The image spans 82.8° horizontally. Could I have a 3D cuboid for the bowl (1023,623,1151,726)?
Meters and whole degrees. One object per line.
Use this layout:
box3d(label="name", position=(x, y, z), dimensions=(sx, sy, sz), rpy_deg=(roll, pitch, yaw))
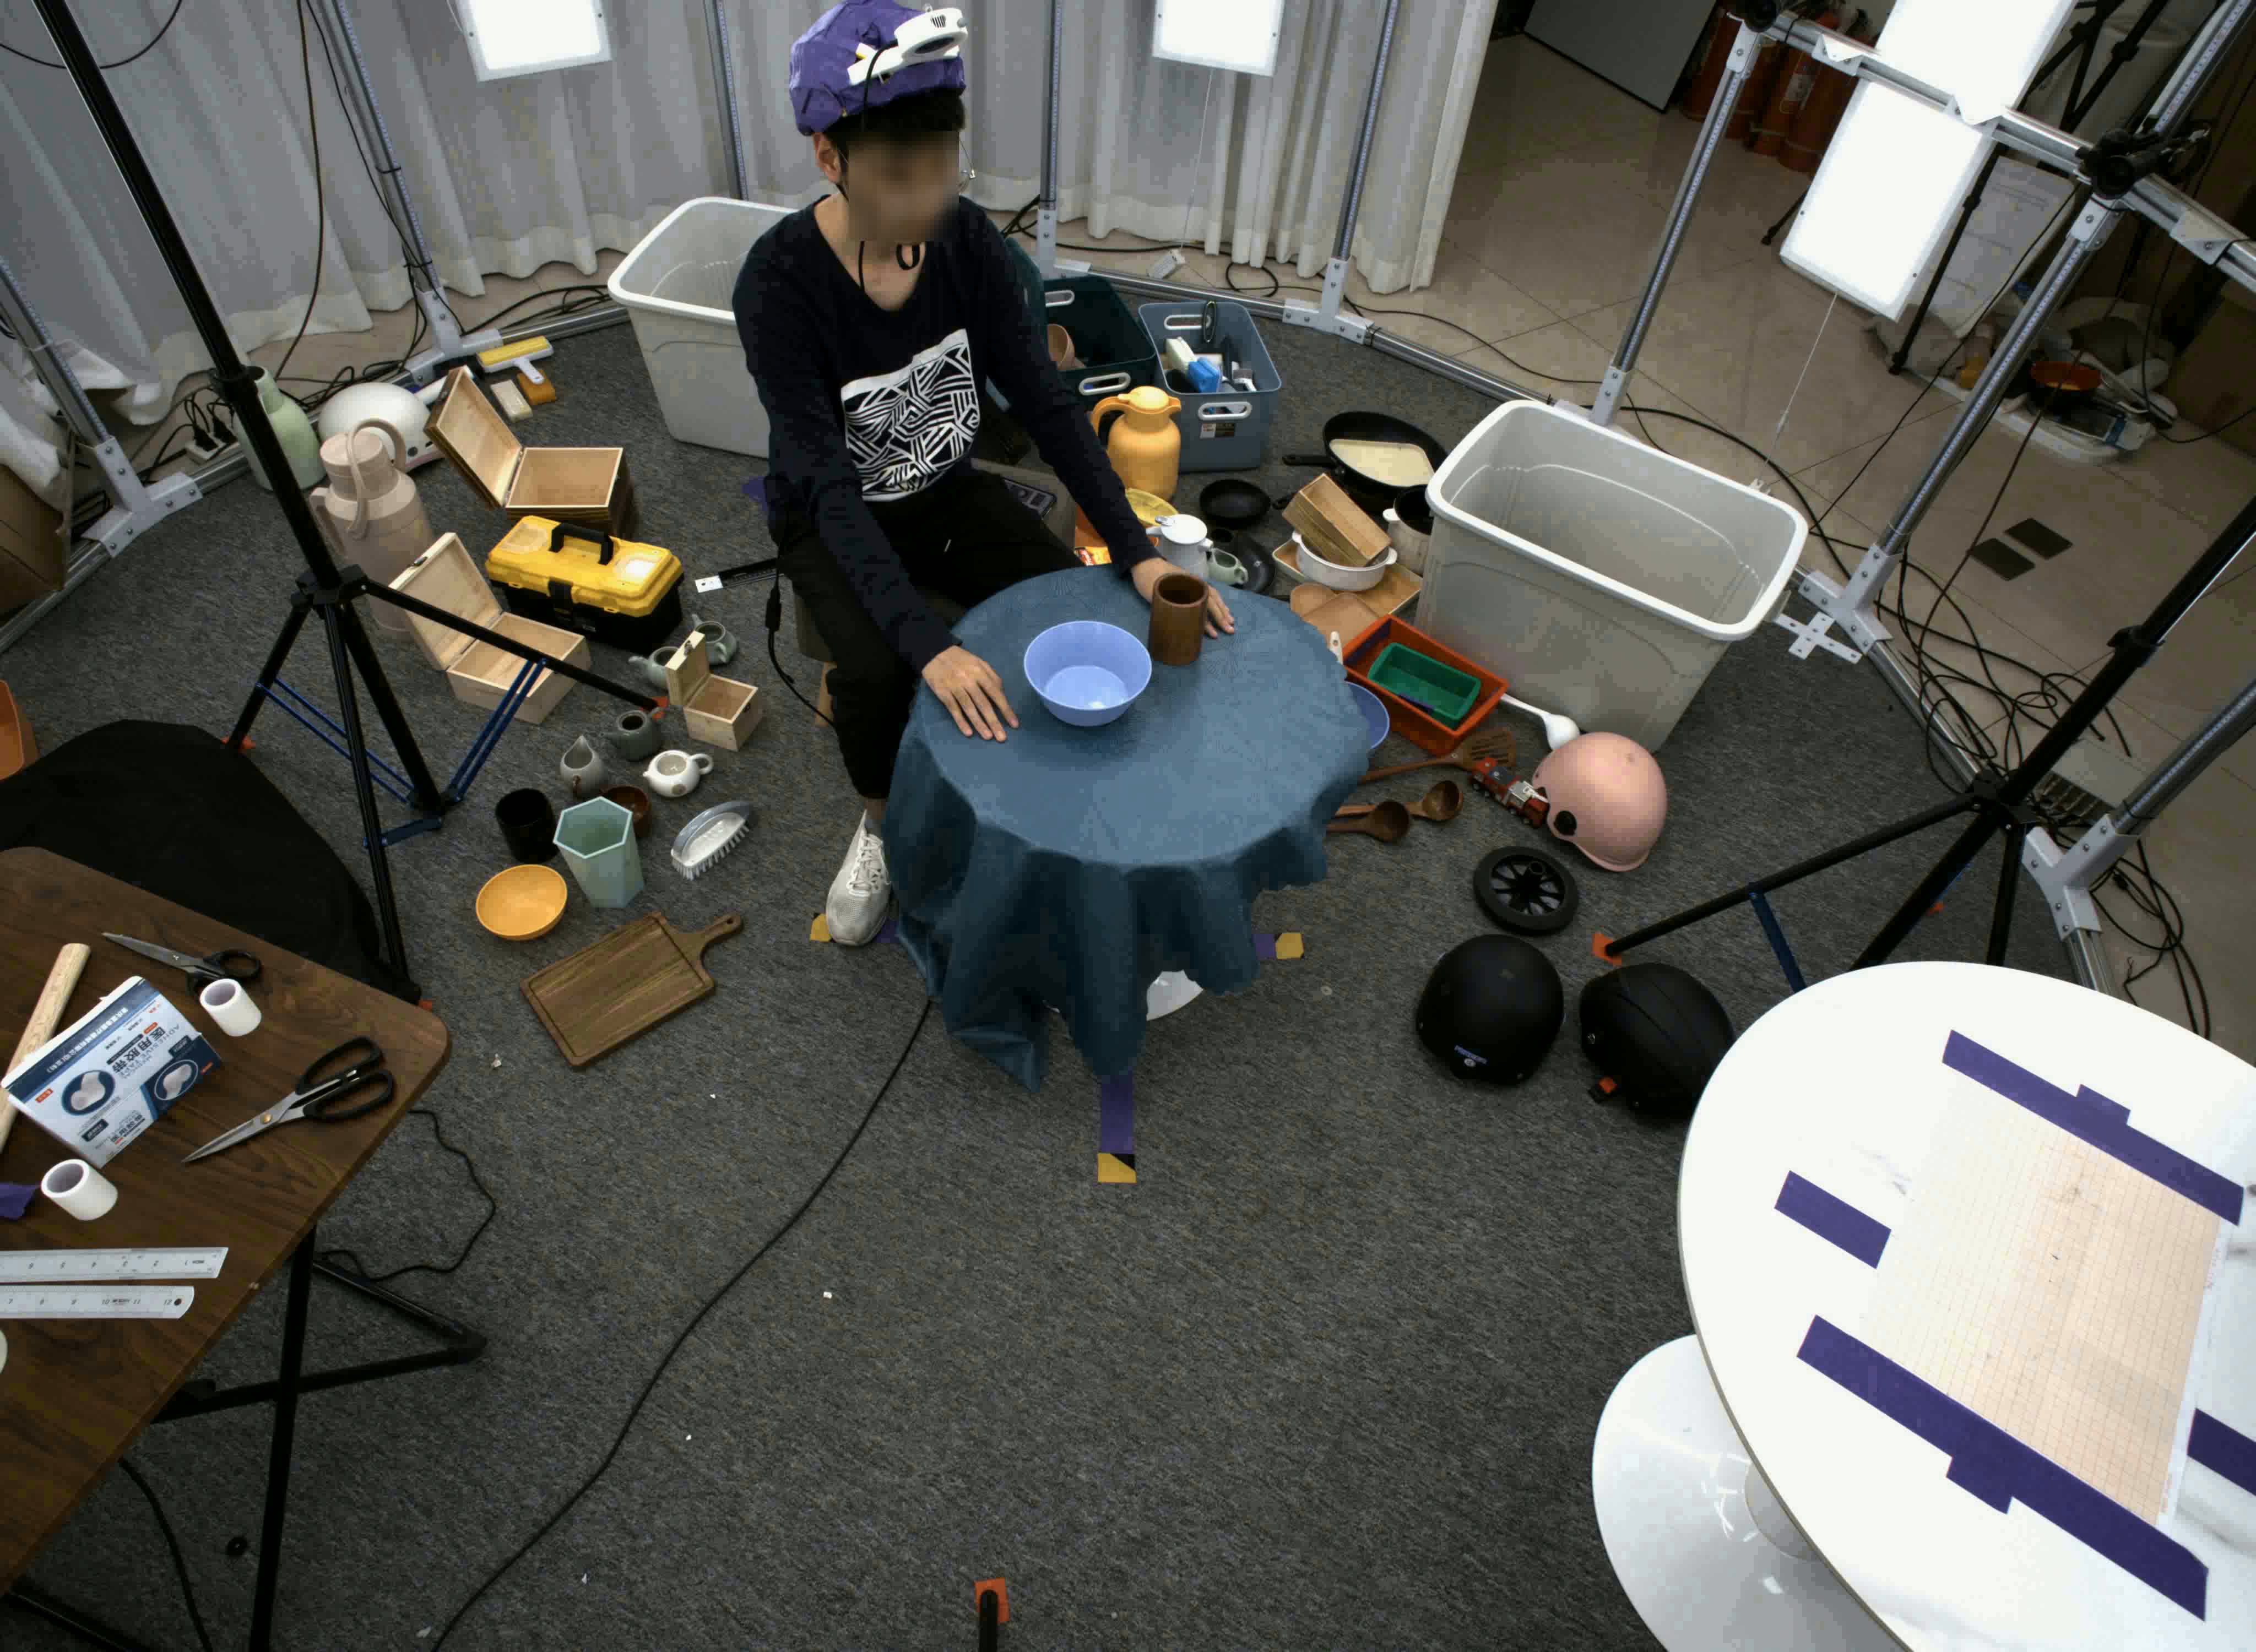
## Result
box3d(label="bowl", position=(-0.058, -0.203, 1.795), dimensions=(0.176, 0.068, 0.180), rpy_deg=(2, 48, -2))

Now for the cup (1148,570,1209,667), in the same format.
box3d(label="cup", position=(0.072, -0.299, 1.858), dimensions=(0.087, 0.115, 0.090), rpy_deg=(2, 46, -2))
